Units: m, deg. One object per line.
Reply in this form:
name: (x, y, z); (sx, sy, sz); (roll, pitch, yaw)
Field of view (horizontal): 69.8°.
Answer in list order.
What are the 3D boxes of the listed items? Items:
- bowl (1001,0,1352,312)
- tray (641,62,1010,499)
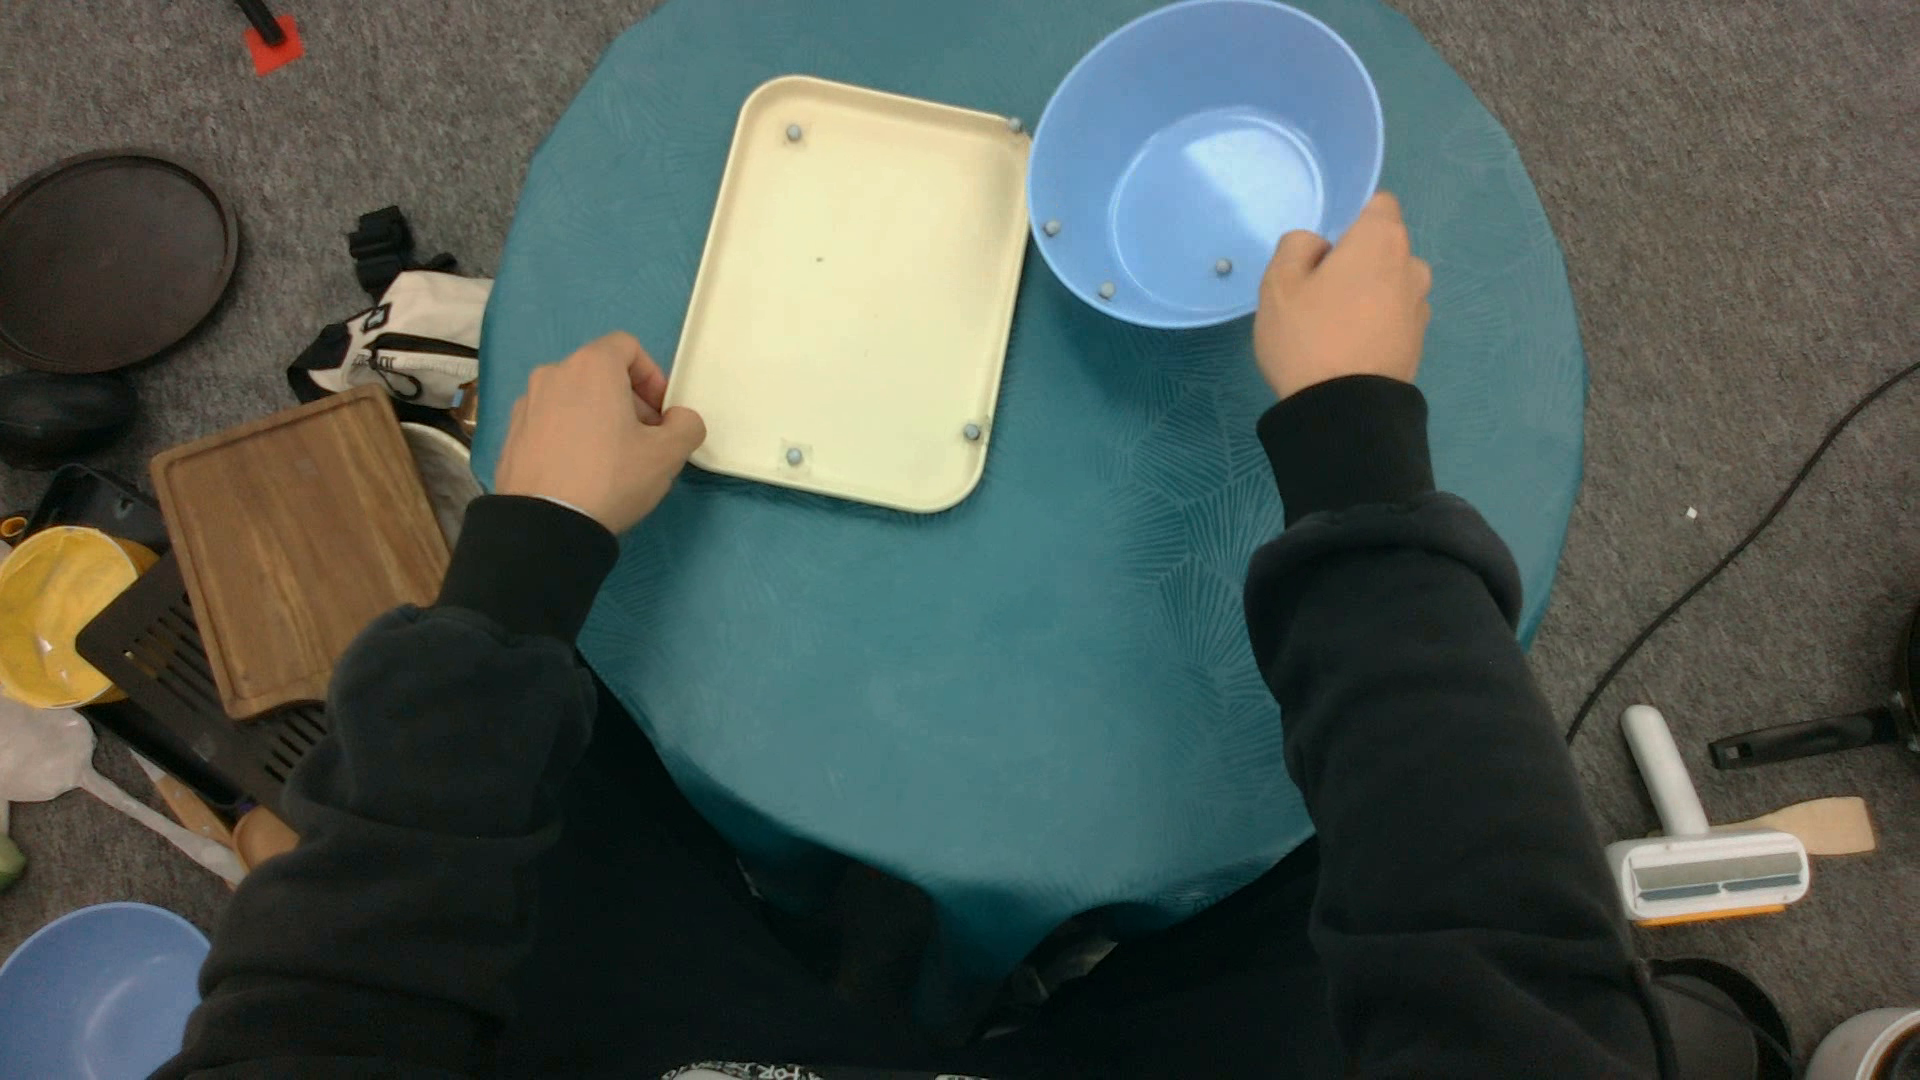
bowl: (0.114, -0.192, 0.708); (0.176, 0.070, 0.176); (-4, 78, 21)
tray: (-0.066, -0.143, 0.743); (0.171, 0.017, 0.240); (11, 73, -2)
